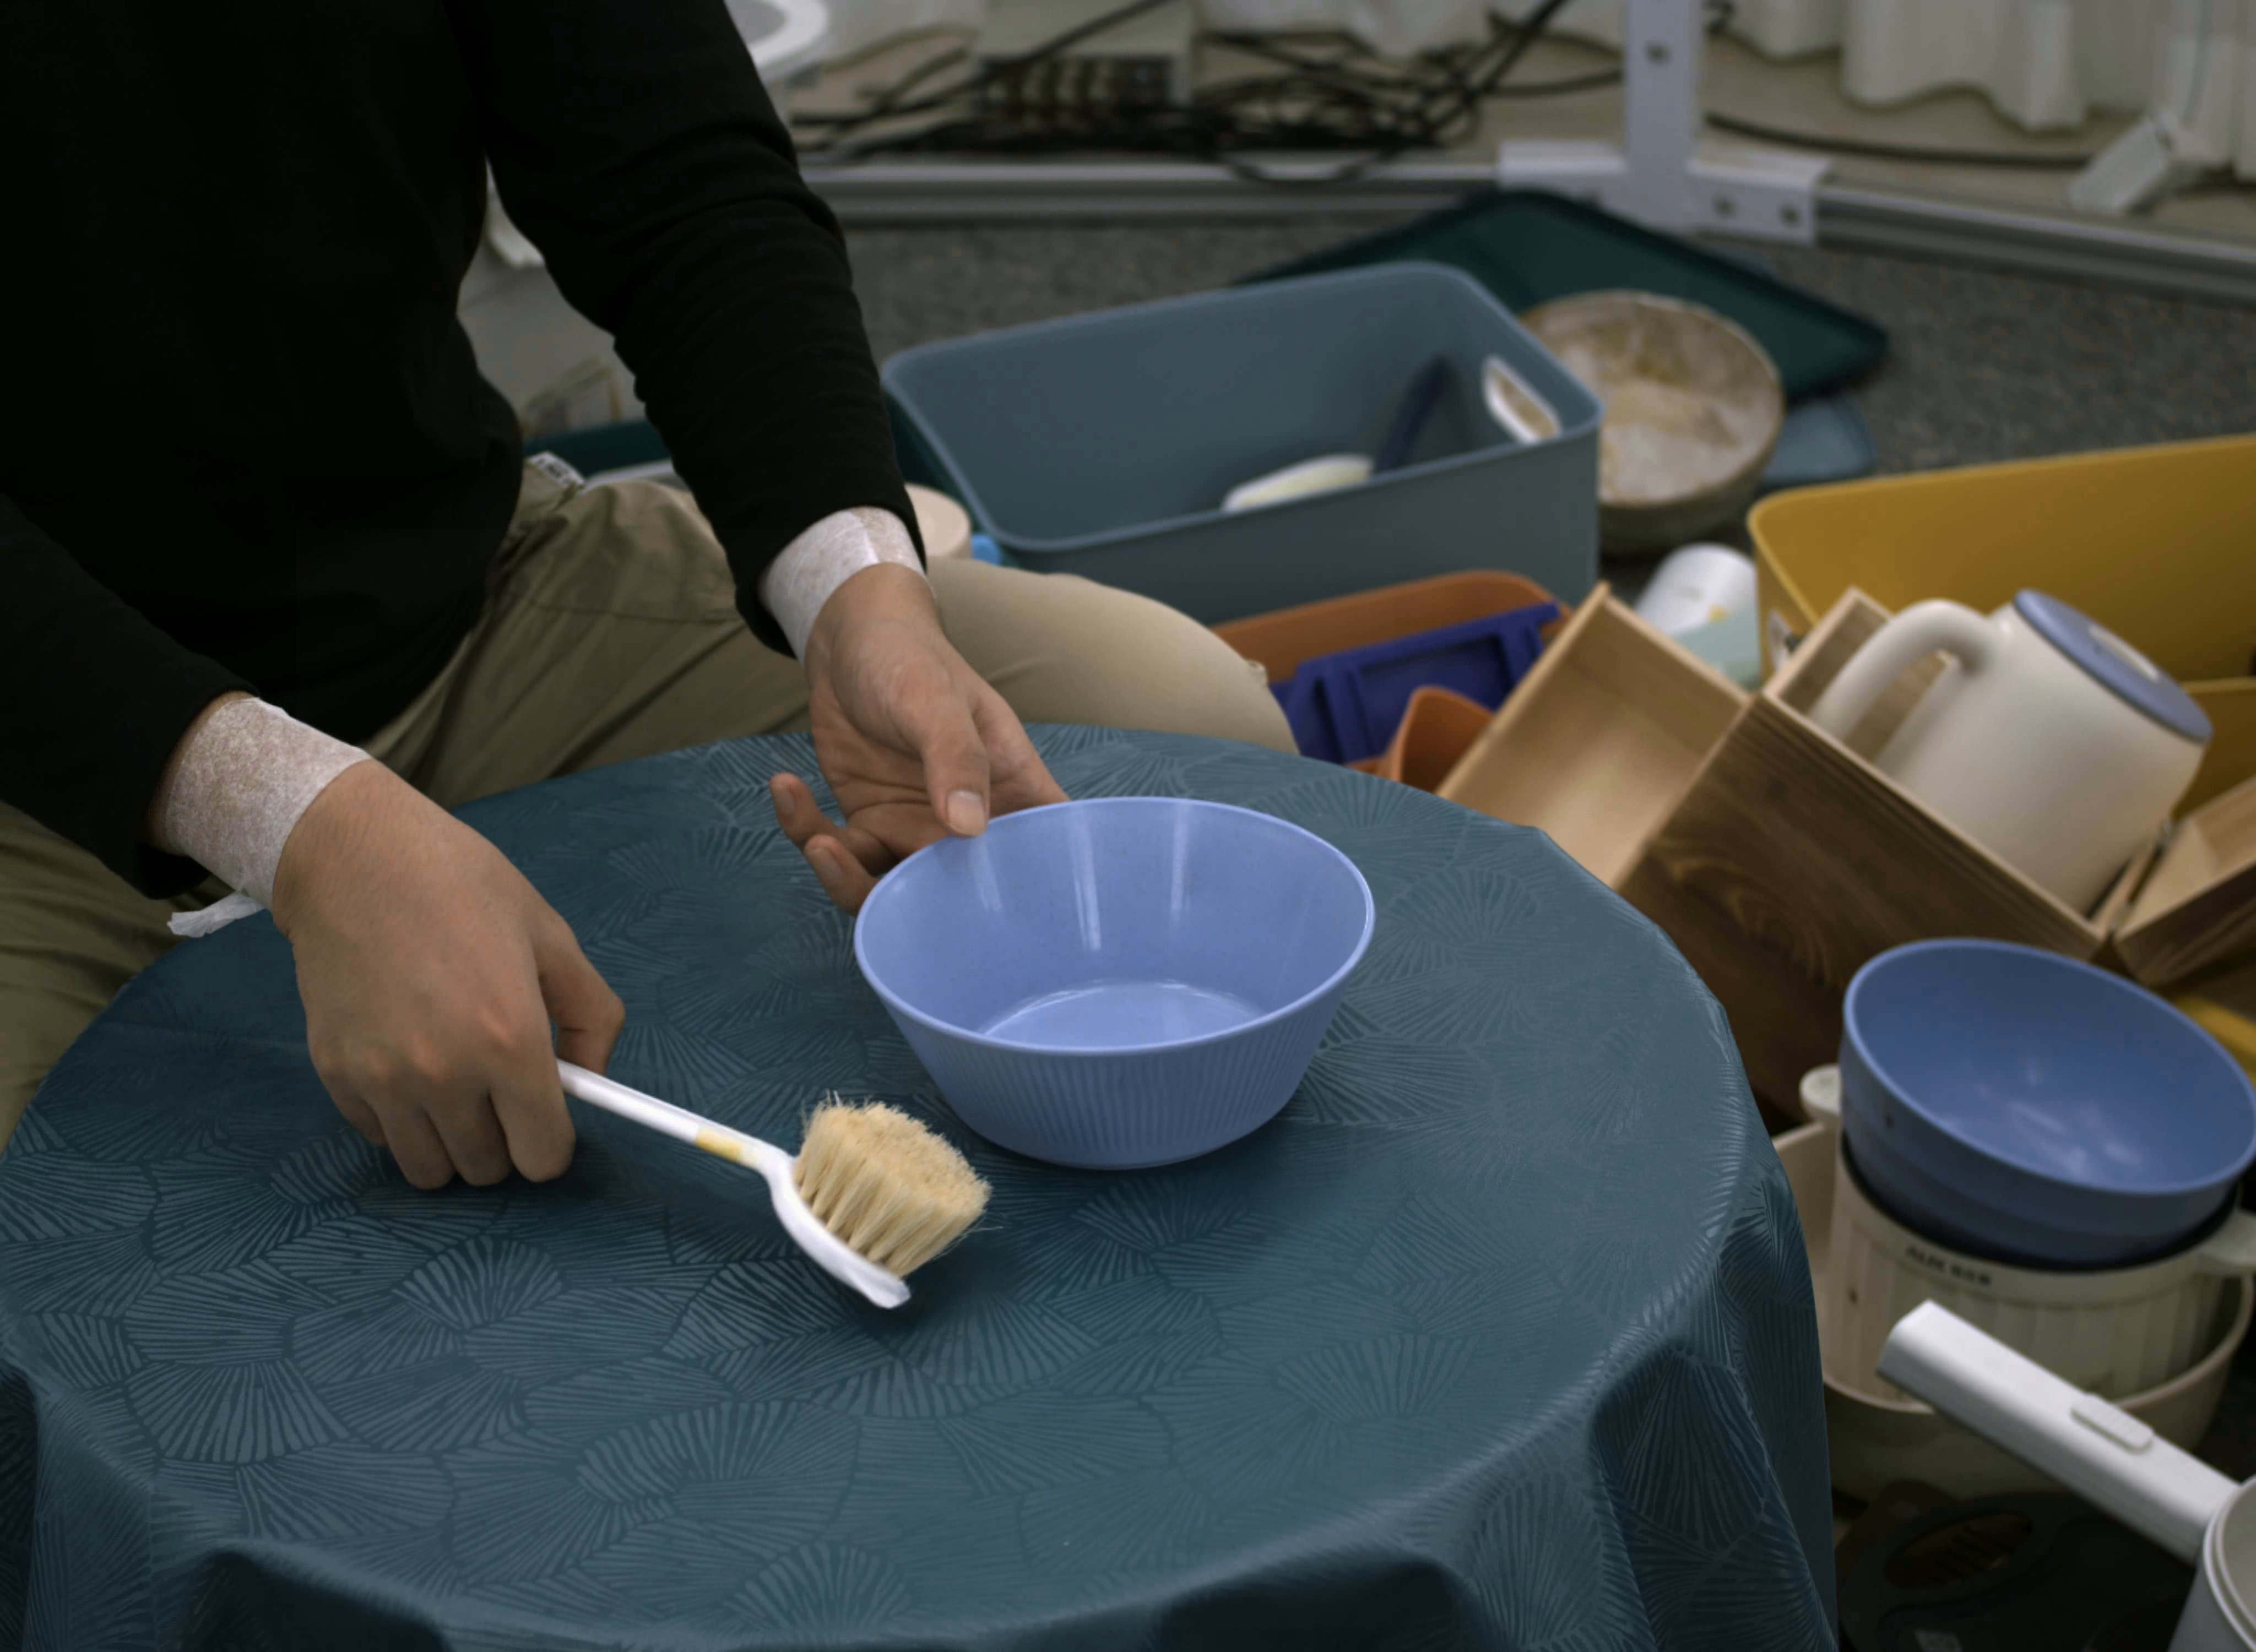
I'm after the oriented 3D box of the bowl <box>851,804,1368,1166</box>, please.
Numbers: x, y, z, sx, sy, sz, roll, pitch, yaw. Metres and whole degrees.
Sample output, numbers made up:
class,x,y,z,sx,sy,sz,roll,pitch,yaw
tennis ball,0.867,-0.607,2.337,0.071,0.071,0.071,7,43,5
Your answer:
class,x,y,z,sx,sy,sz,roll,pitch,yaw
bowl,-0.005,0.059,1.904,0.175,0.069,0.178,-2,26,1

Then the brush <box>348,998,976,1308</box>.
class,x,y,z,sx,sy,sz,roll,pitch,yaw
brush,-0.157,0.085,1.855,0.266,0.056,0.068,24,-4,36
